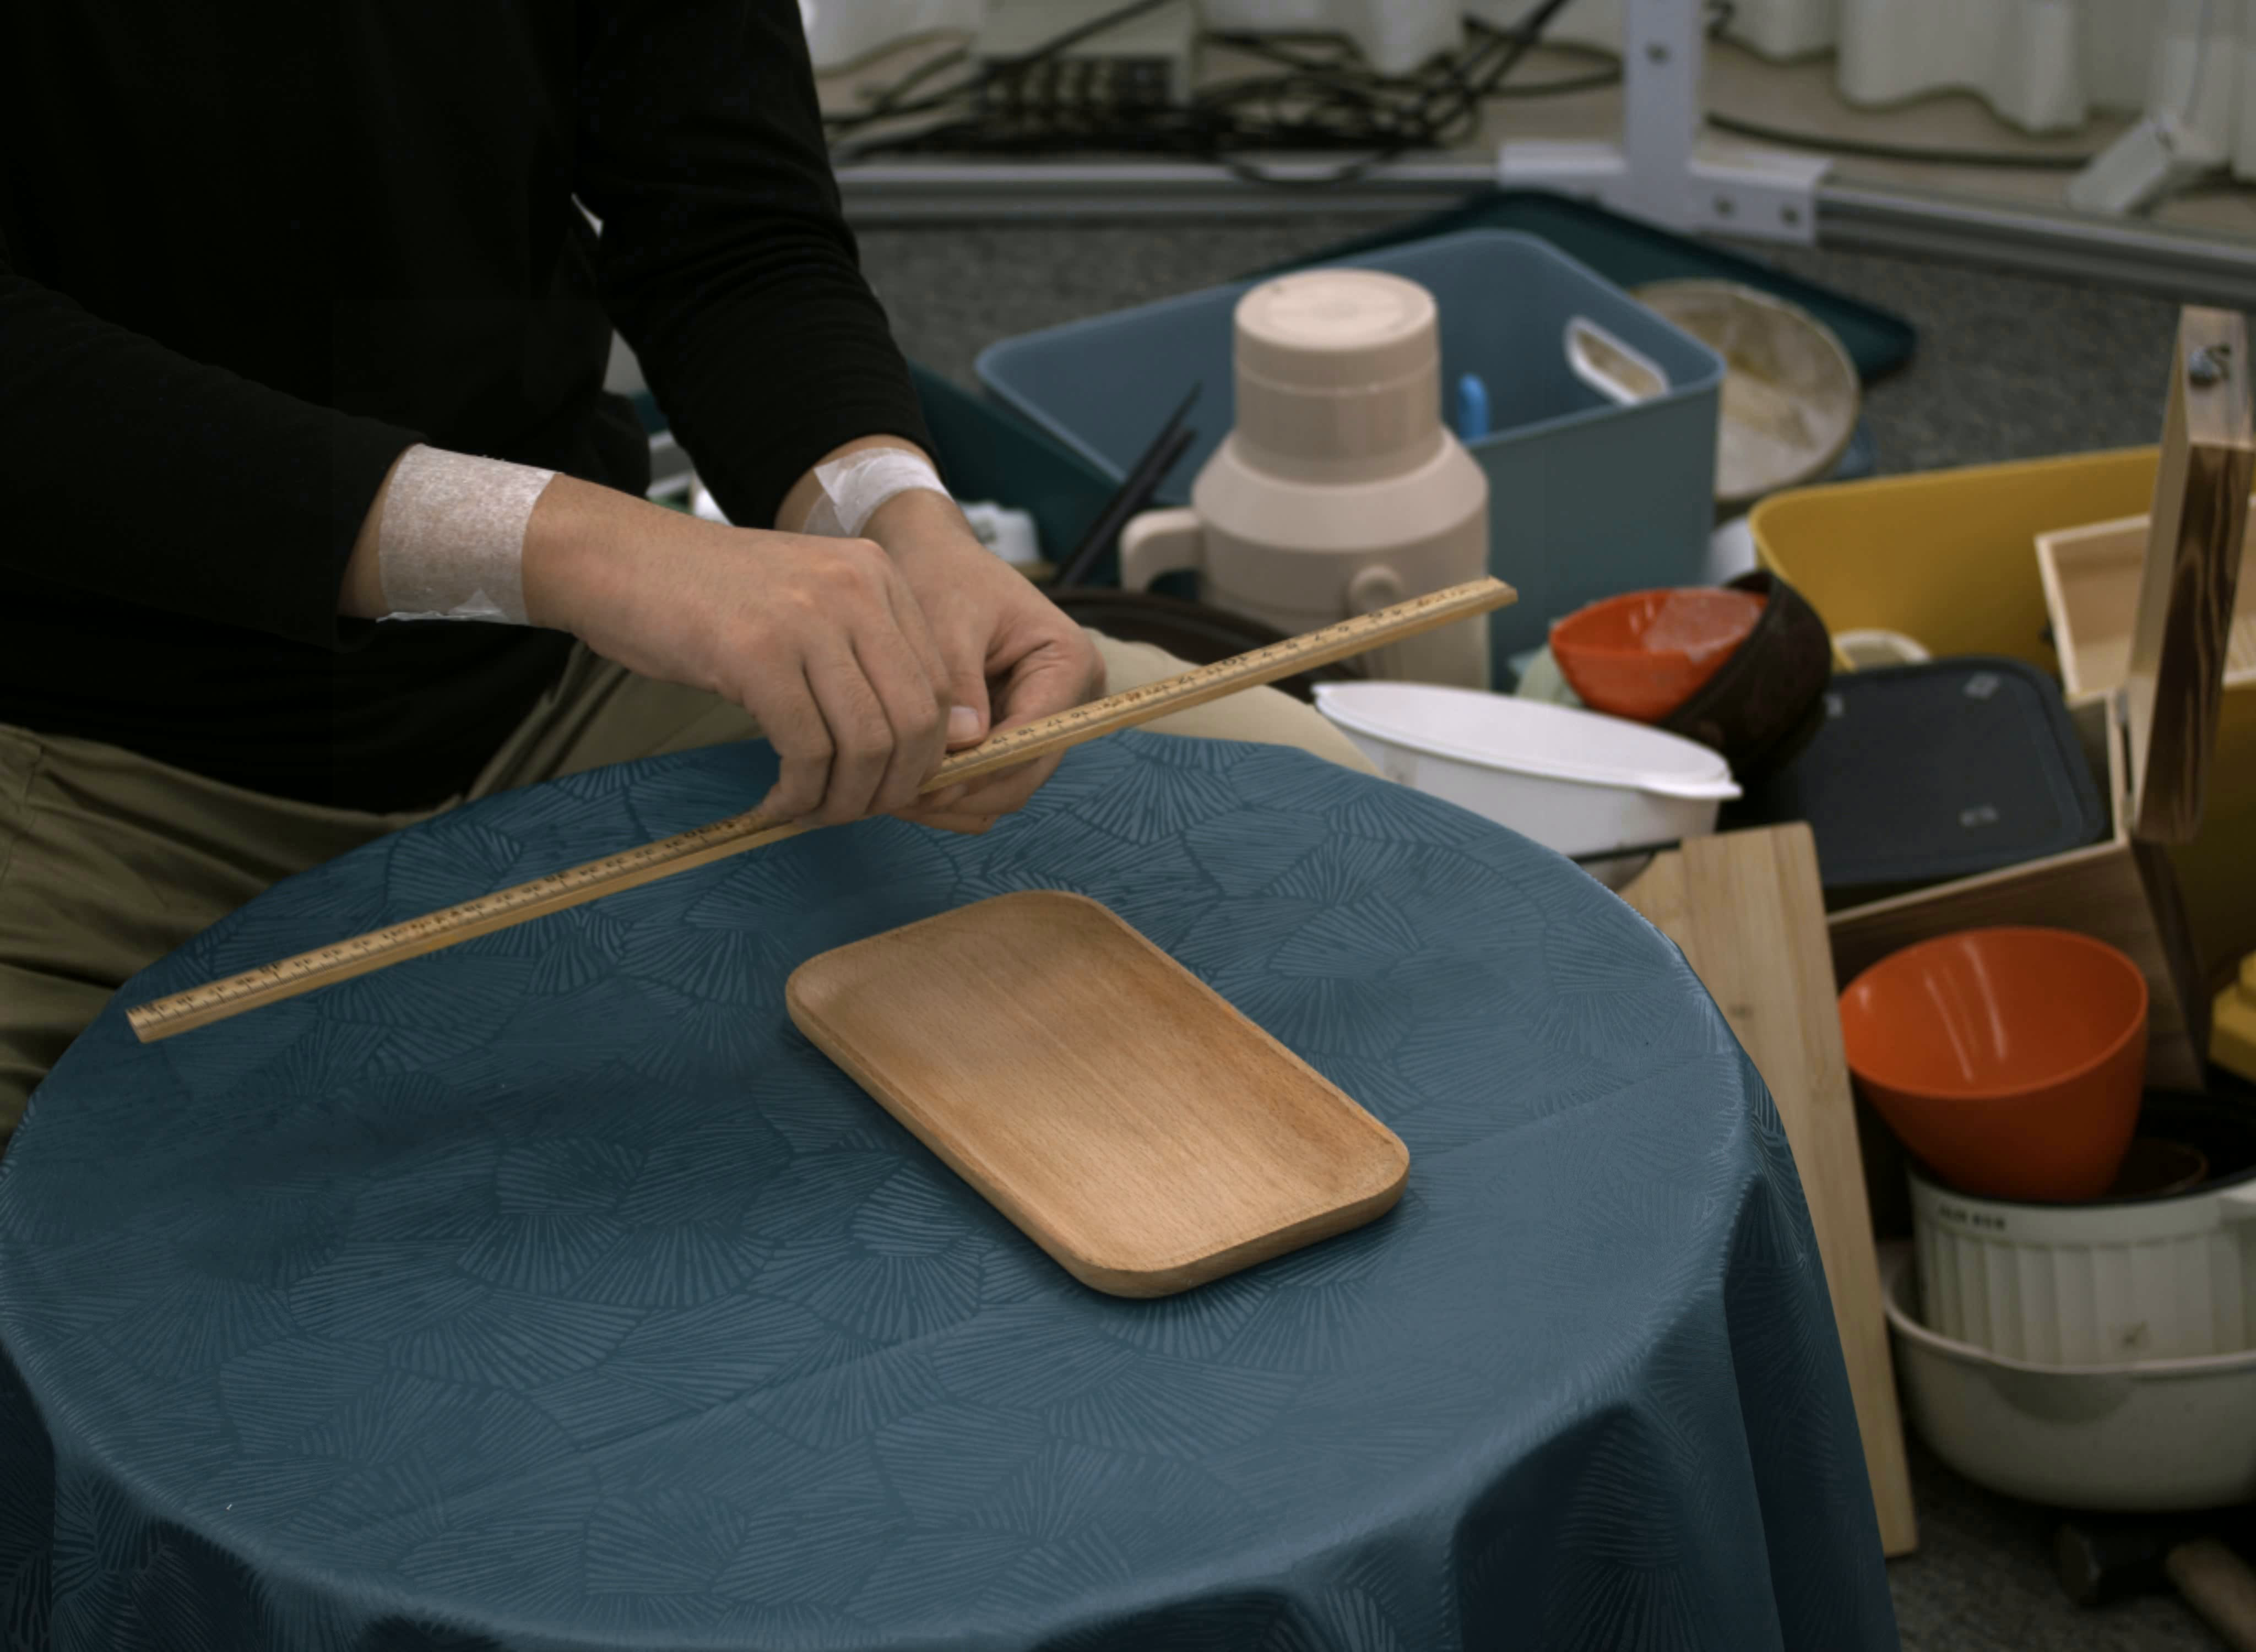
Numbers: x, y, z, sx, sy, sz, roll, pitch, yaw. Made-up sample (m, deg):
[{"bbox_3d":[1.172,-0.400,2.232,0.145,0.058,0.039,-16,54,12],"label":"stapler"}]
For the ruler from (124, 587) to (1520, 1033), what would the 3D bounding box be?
[{"bbox_3d":[-0.098,-0.008,1.906,0.502,0.006,0.027,-18,16,-15],"label":"ruler"}]

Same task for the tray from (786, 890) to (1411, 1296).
[{"bbox_3d":[-0.013,0.088,1.910,0.131,0.022,0.252,-15,28,-25],"label":"tray"}]
